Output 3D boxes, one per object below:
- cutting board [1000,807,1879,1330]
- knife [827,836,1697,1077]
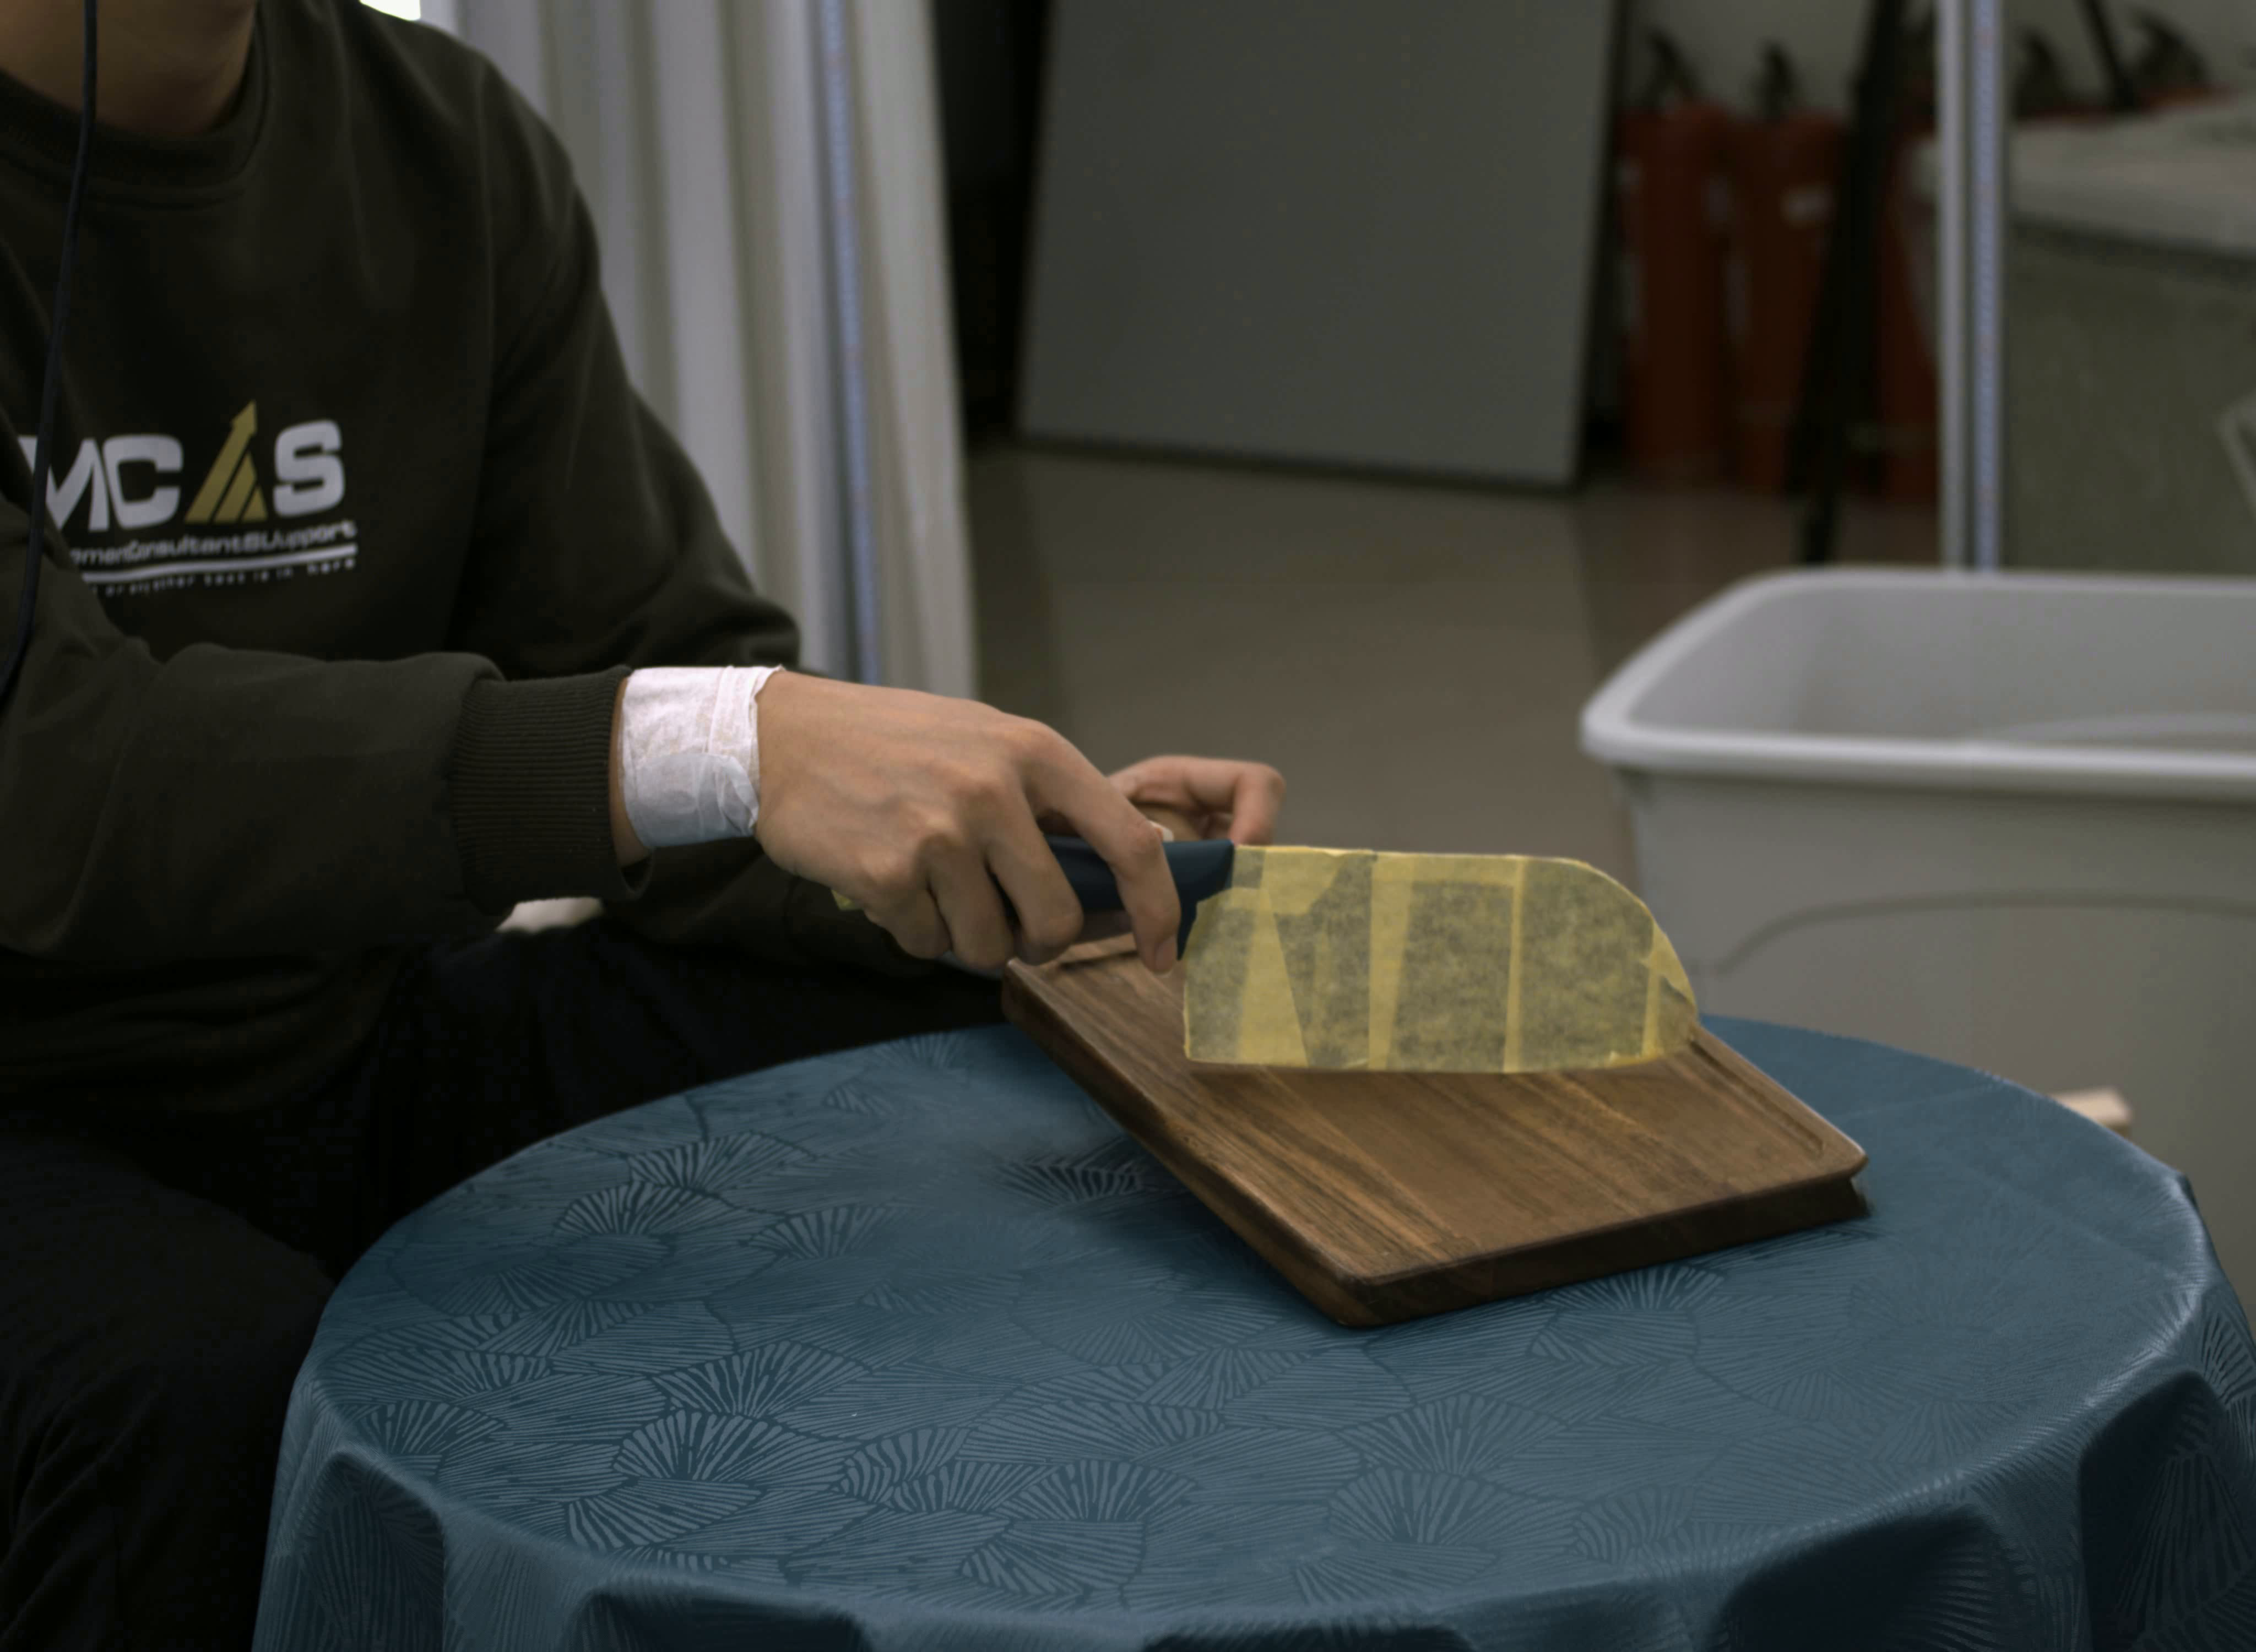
[{"bbox_3d":[0.075,0.066,1.798,0.197,0.023,0.356,-10,26,-25],"label":"cutting board"},{"bbox_3d":[0.044,0.040,1.750,0.286,0.082,0.027,5,3,2],"label":"knife"}]
